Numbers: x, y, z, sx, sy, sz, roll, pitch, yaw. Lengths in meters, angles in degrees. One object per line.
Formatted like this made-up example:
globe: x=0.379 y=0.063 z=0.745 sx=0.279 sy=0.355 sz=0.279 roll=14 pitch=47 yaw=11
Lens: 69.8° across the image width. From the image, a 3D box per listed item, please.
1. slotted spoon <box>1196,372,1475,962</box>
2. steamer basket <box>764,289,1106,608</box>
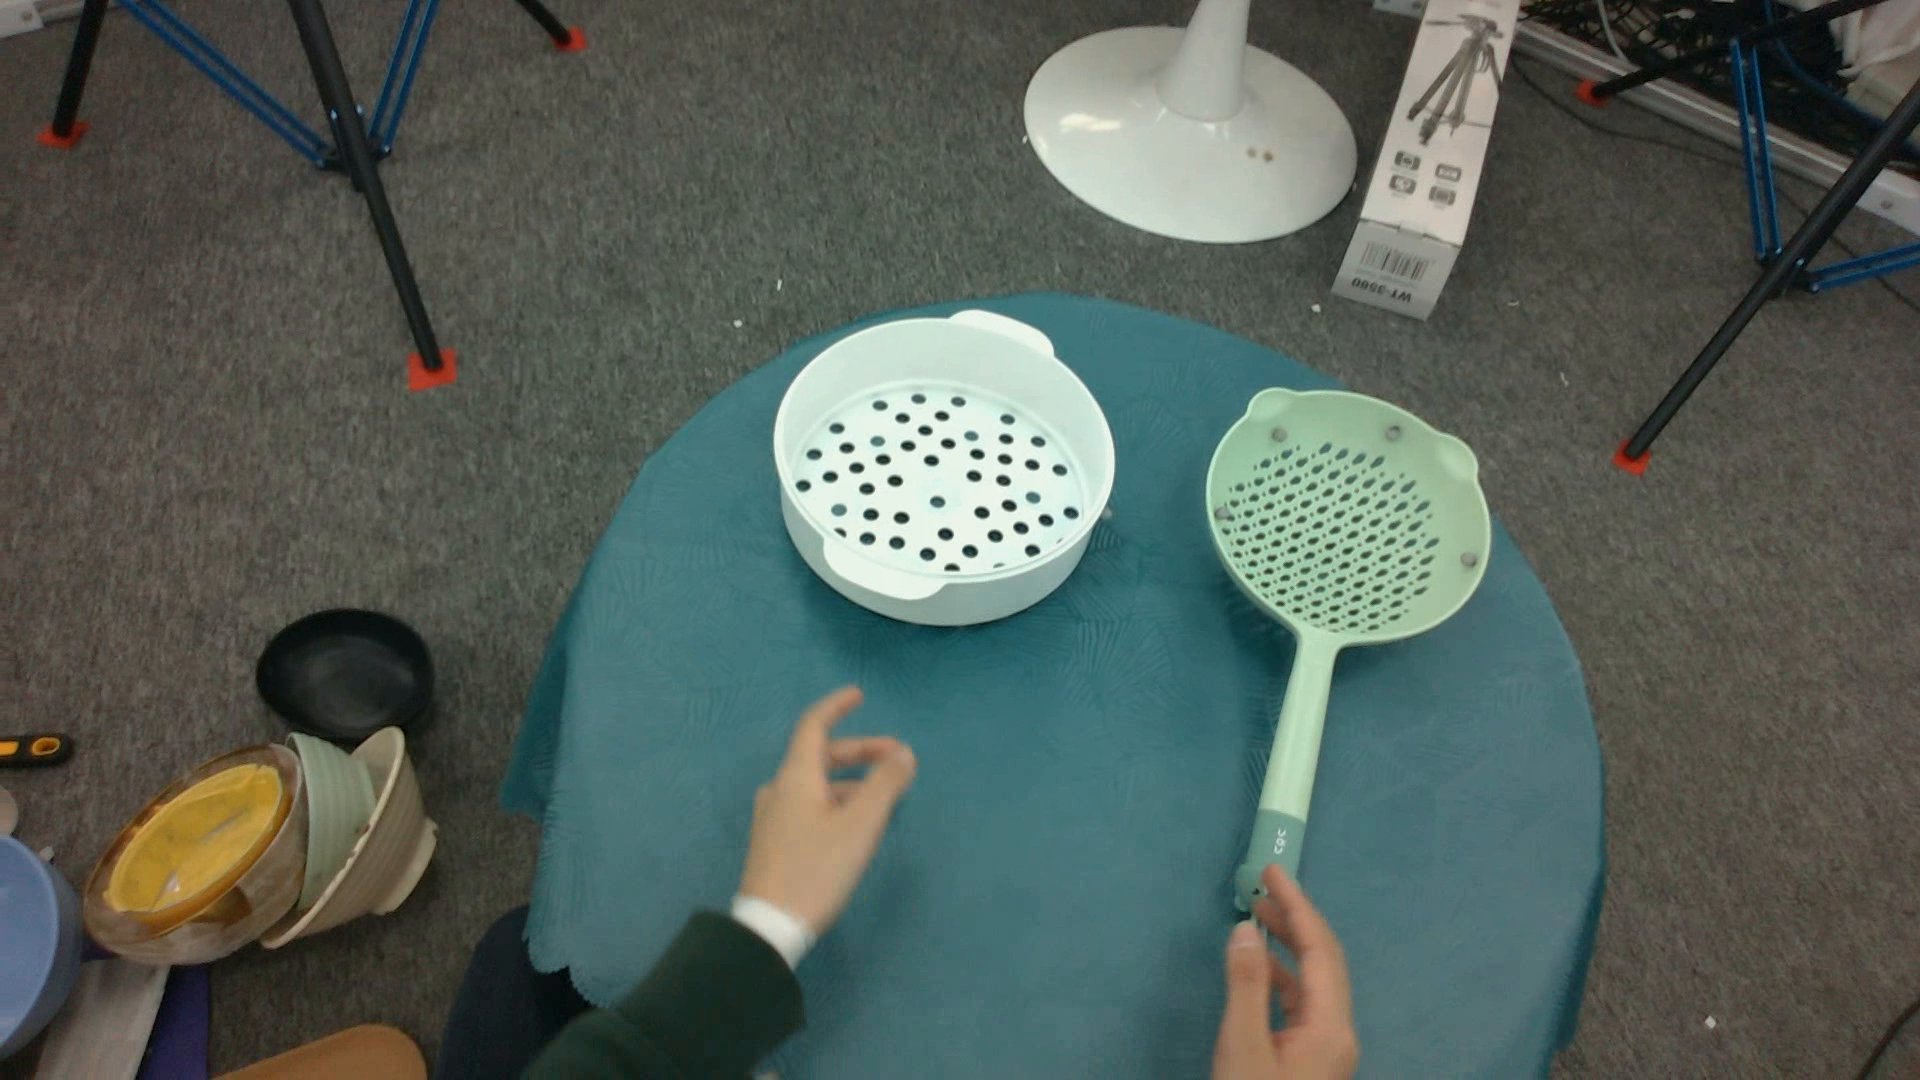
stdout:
slotted spoon: x=0.193 y=0.059 z=0.782 sx=0.169 sy=0.075 sz=0.360 roll=17 pitch=54 yaw=5
steamer basket: x=-0.016 y=-0.053 z=0.832 sx=0.202 sy=0.069 sz=0.232 roll=19 pitch=55 yaw=7
